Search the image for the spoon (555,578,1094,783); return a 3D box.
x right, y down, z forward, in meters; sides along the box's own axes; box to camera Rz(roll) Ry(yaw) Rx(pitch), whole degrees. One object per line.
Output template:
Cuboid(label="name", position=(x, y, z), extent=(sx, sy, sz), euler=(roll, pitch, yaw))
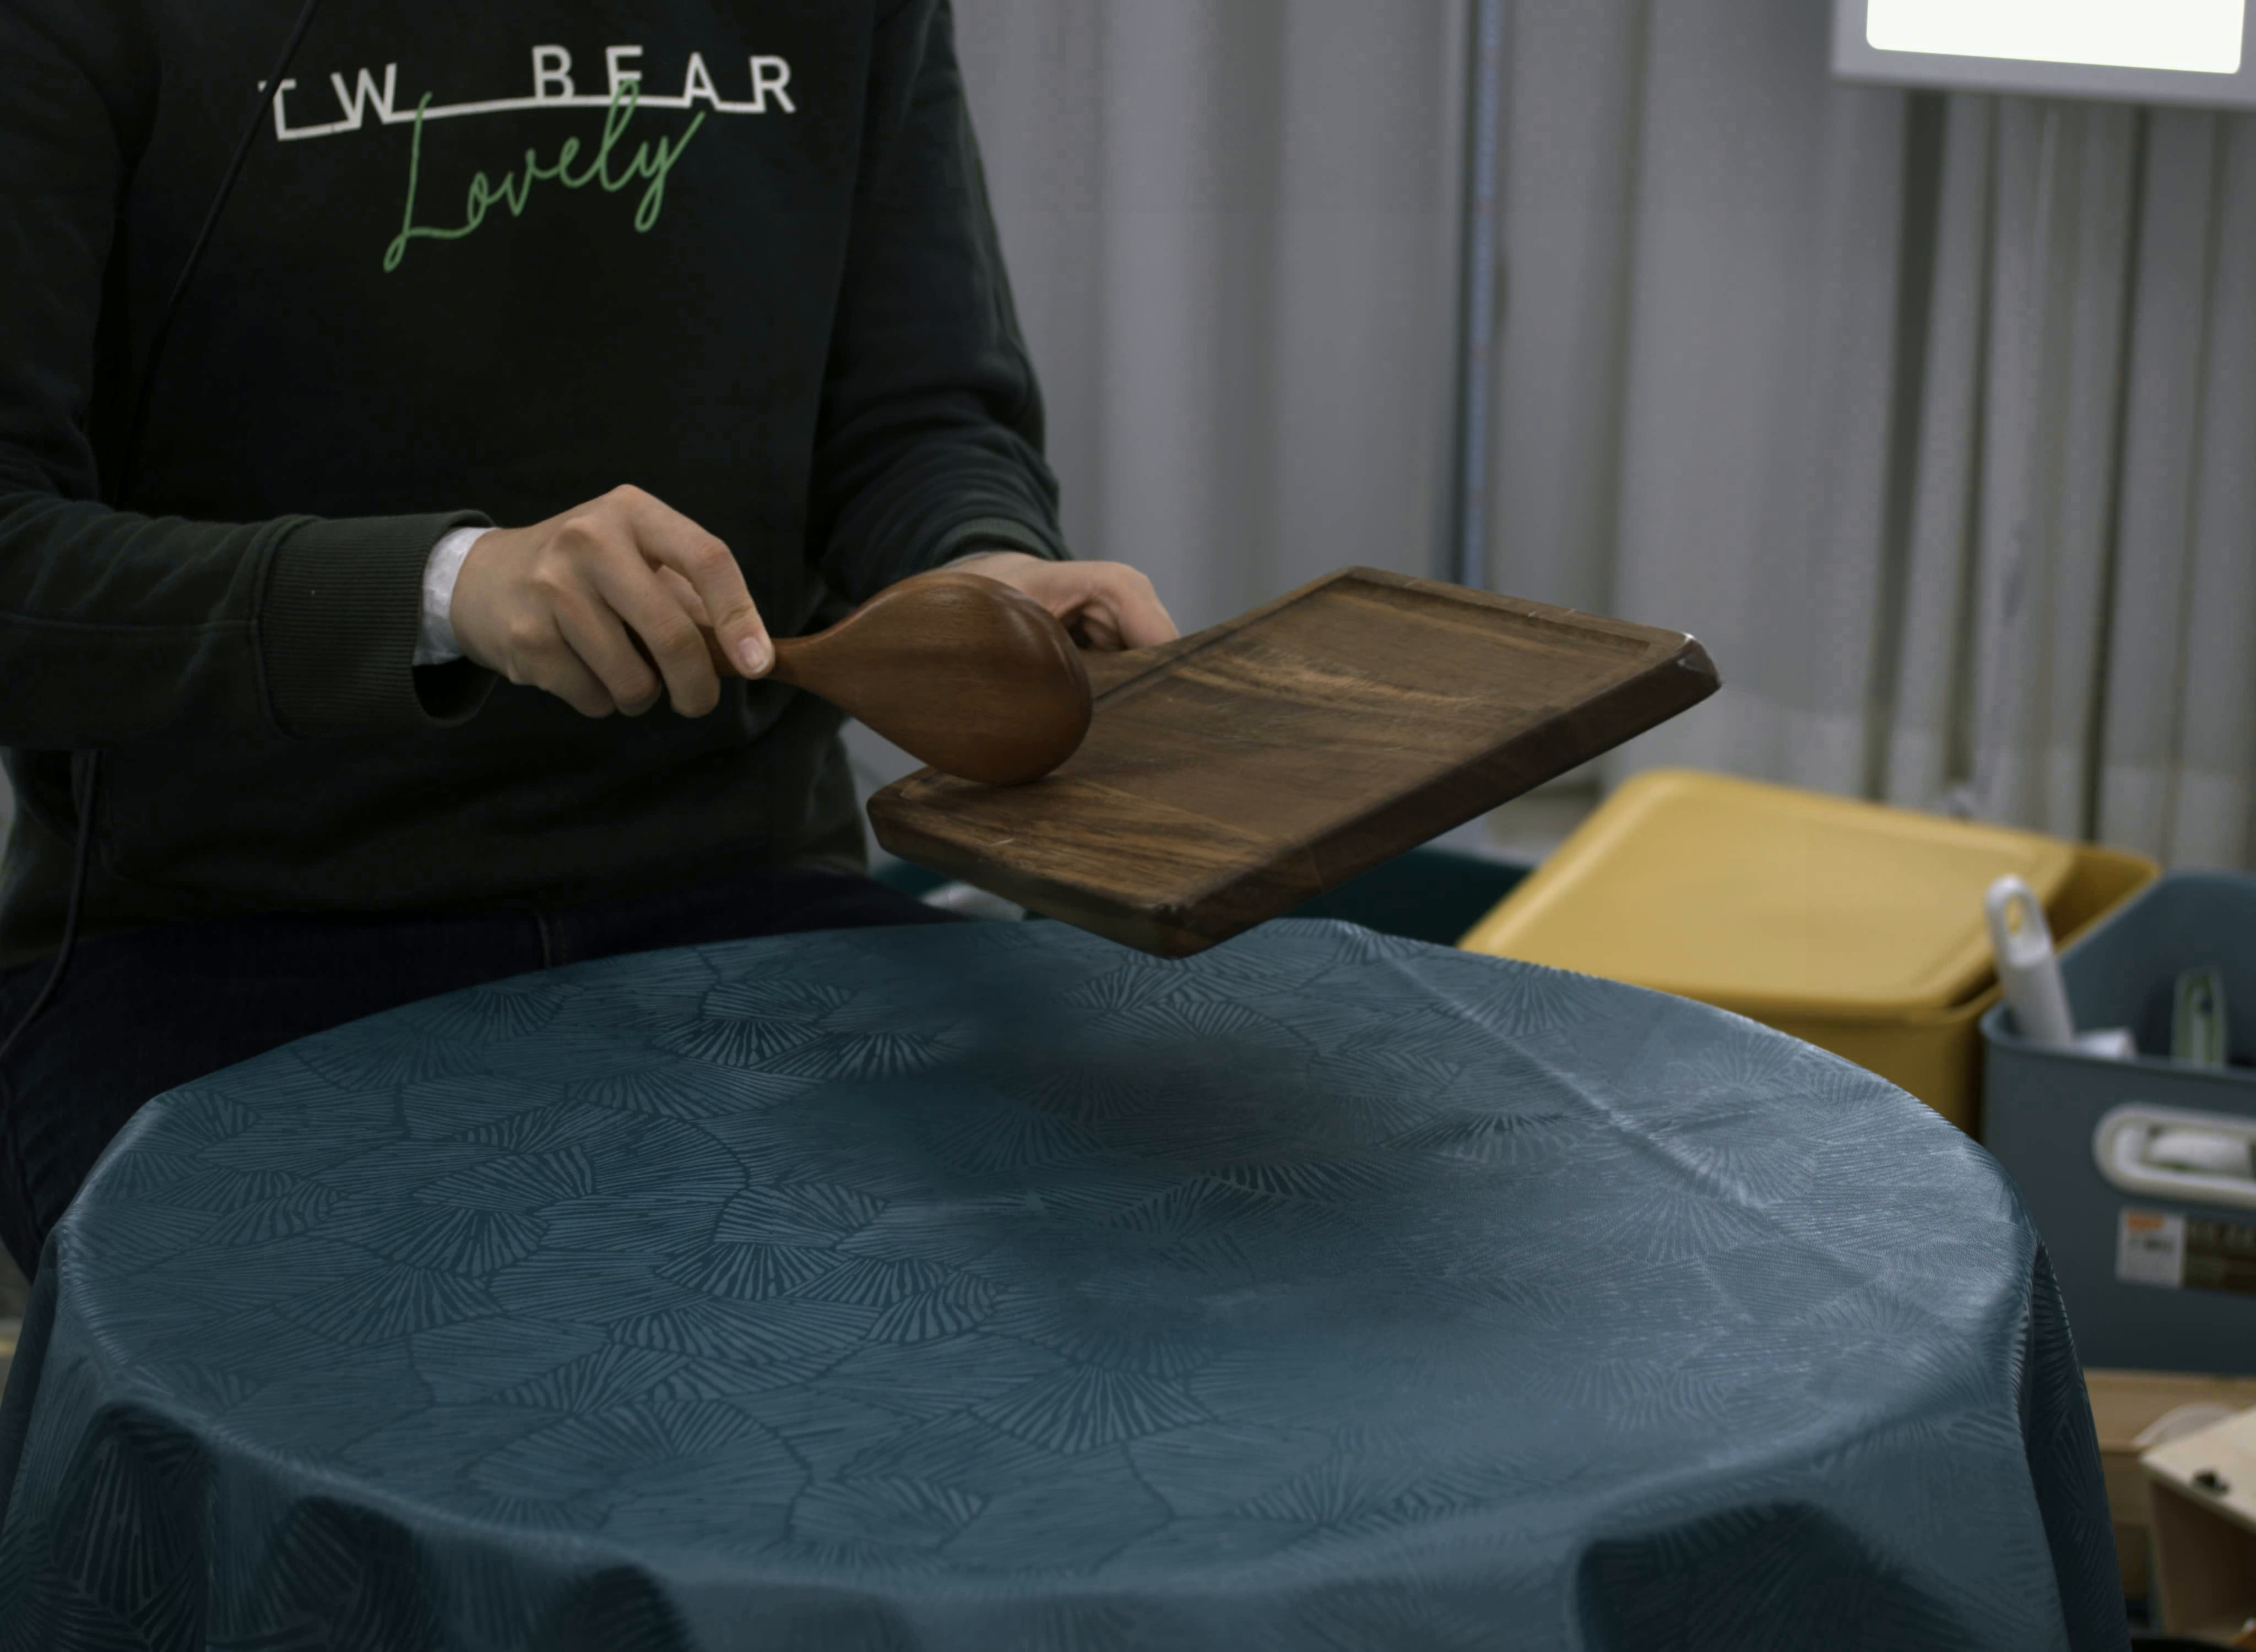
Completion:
Cuboid(label="spoon", position=(-0.103, -0.052, 1.725), extent=(0.213, 0.076, 0.017), euler=(8, 35, 33))

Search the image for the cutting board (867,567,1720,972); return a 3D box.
Cuboid(label="cutting board", position=(0.027, -0.030, 1.705), extent=(0.201, 0.023, 0.348), euler=(-27, 18, -18))
